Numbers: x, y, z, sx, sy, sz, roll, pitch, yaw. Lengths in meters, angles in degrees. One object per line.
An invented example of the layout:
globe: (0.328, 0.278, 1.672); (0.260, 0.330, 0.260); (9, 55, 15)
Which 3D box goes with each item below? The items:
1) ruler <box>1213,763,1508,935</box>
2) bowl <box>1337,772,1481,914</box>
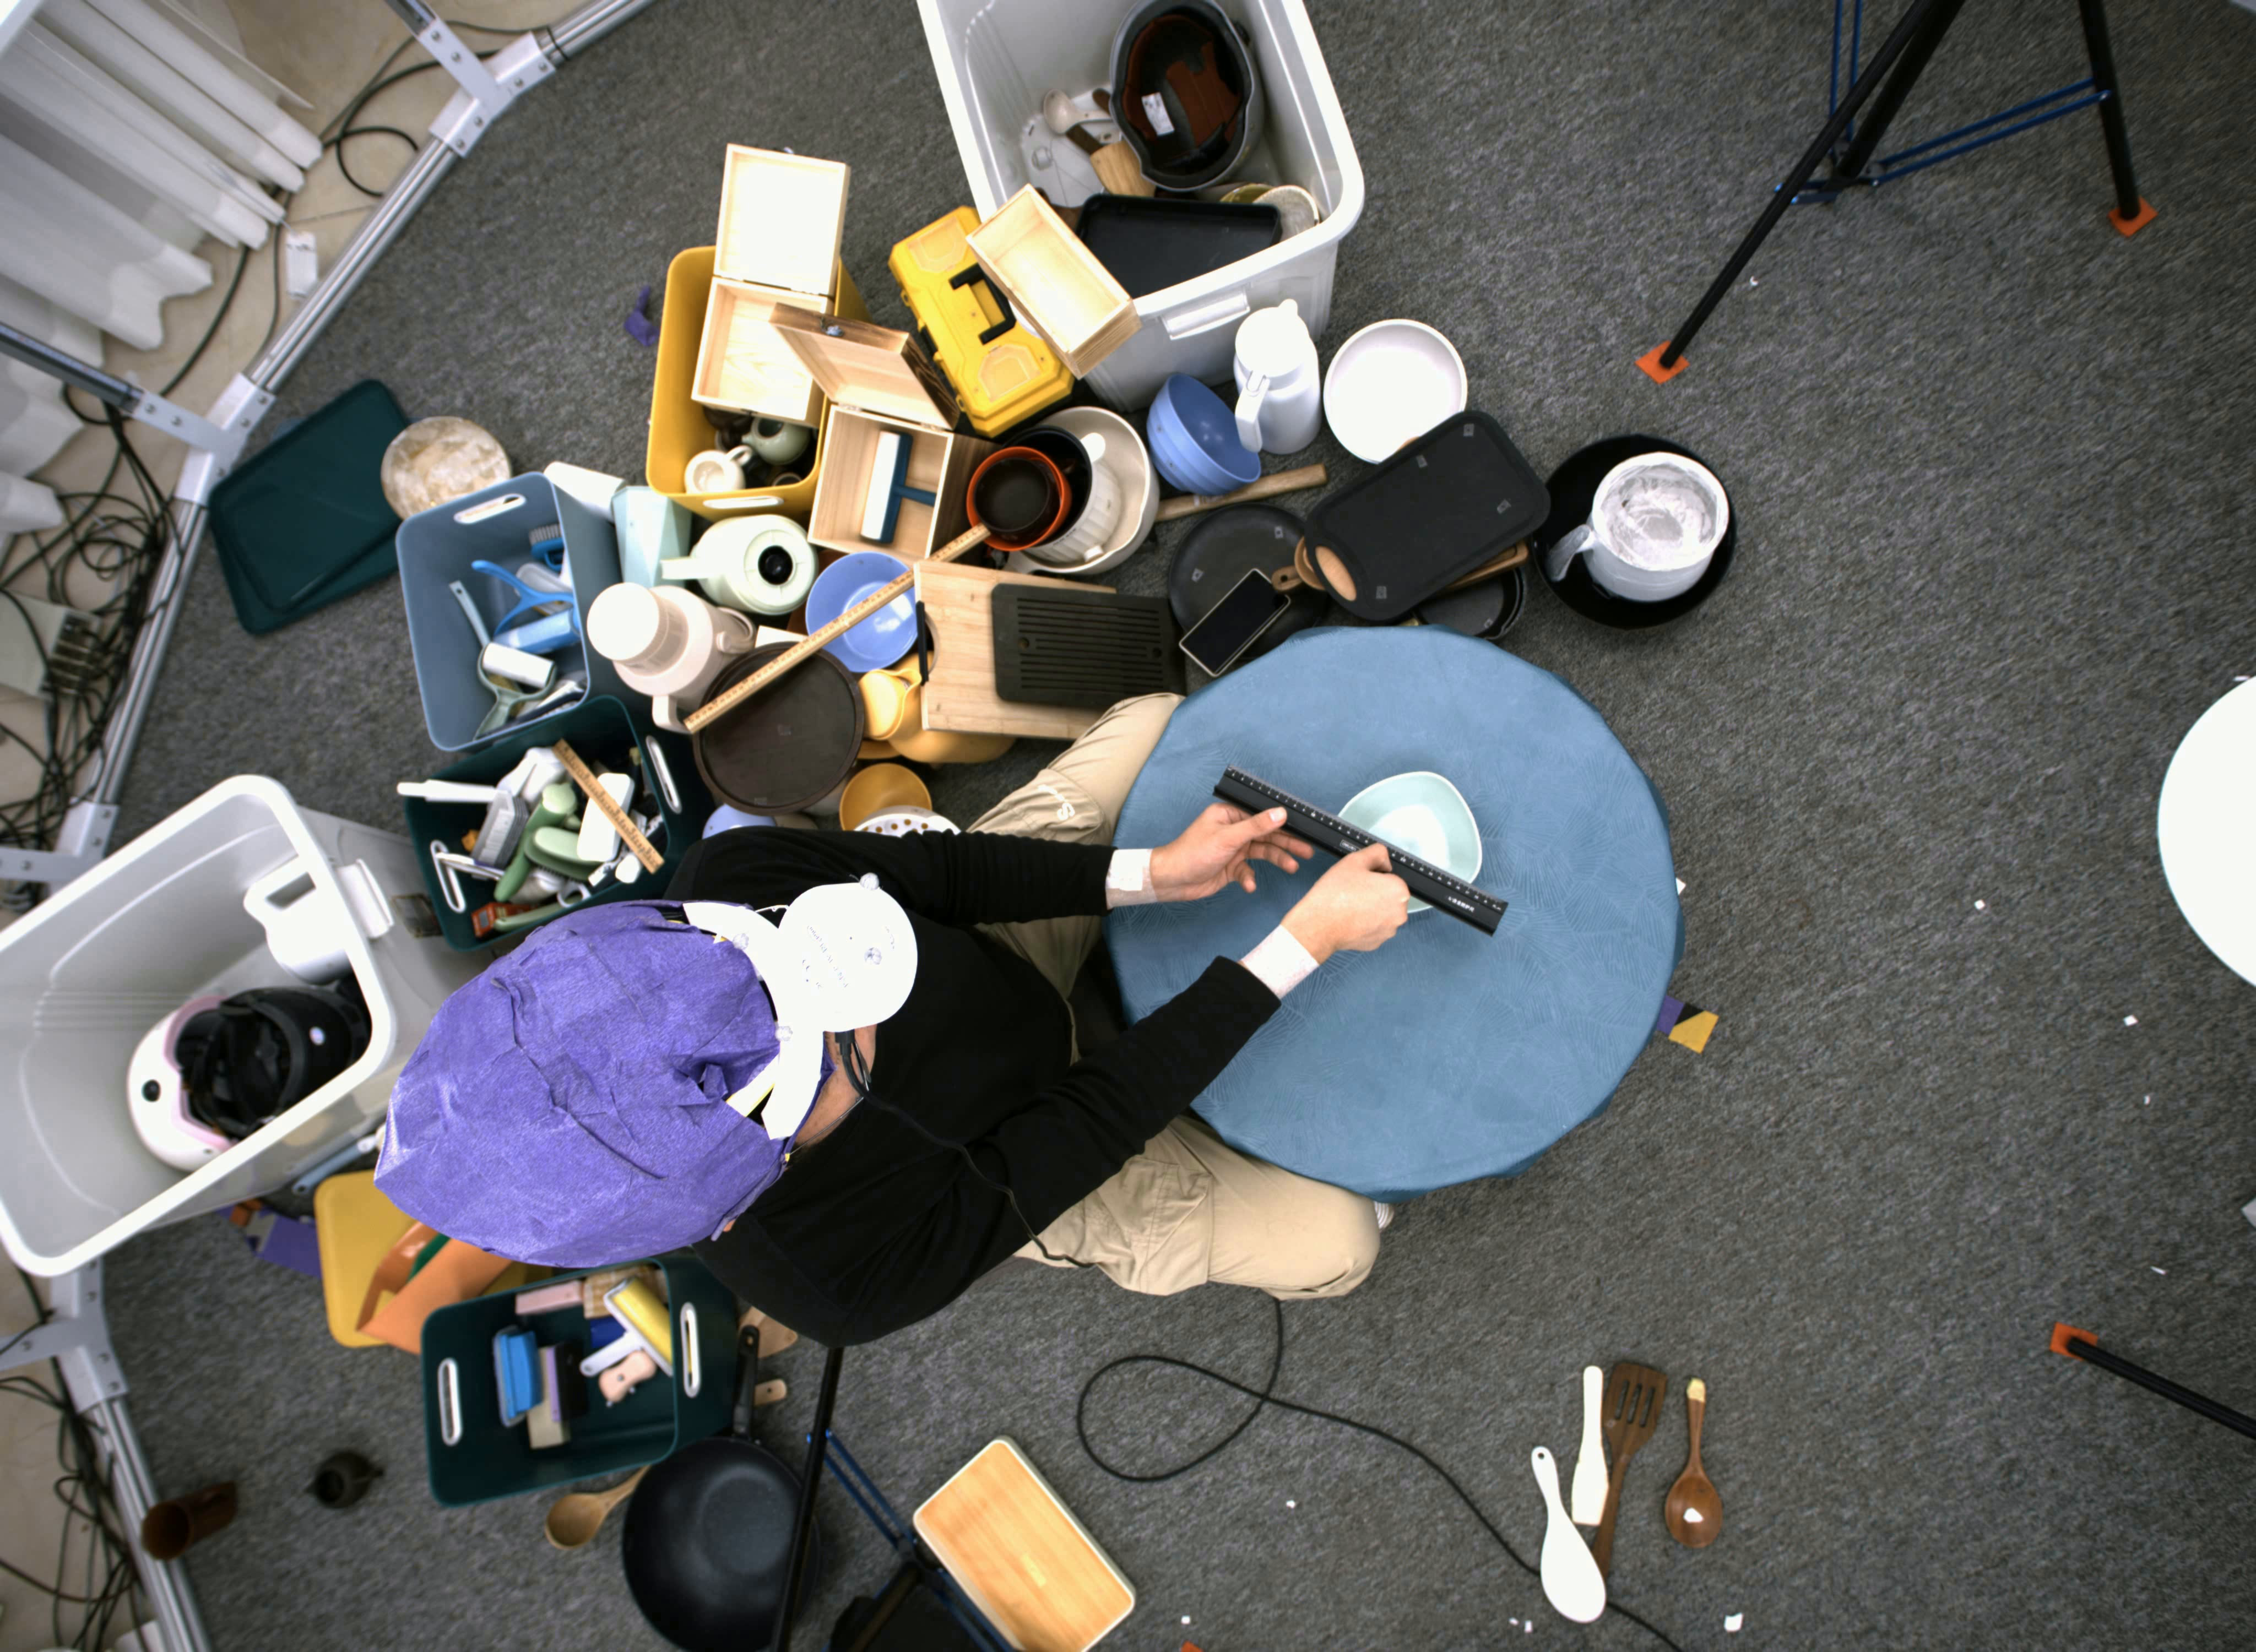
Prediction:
ruler: (0.230, 0.019, 1.370); (0.312, 0.017, 0.039); (28, 82, 11)
bowl: (0.289, 0.018, 1.431); (0.152, 0.059, 0.151); (-1, 87, 8)
